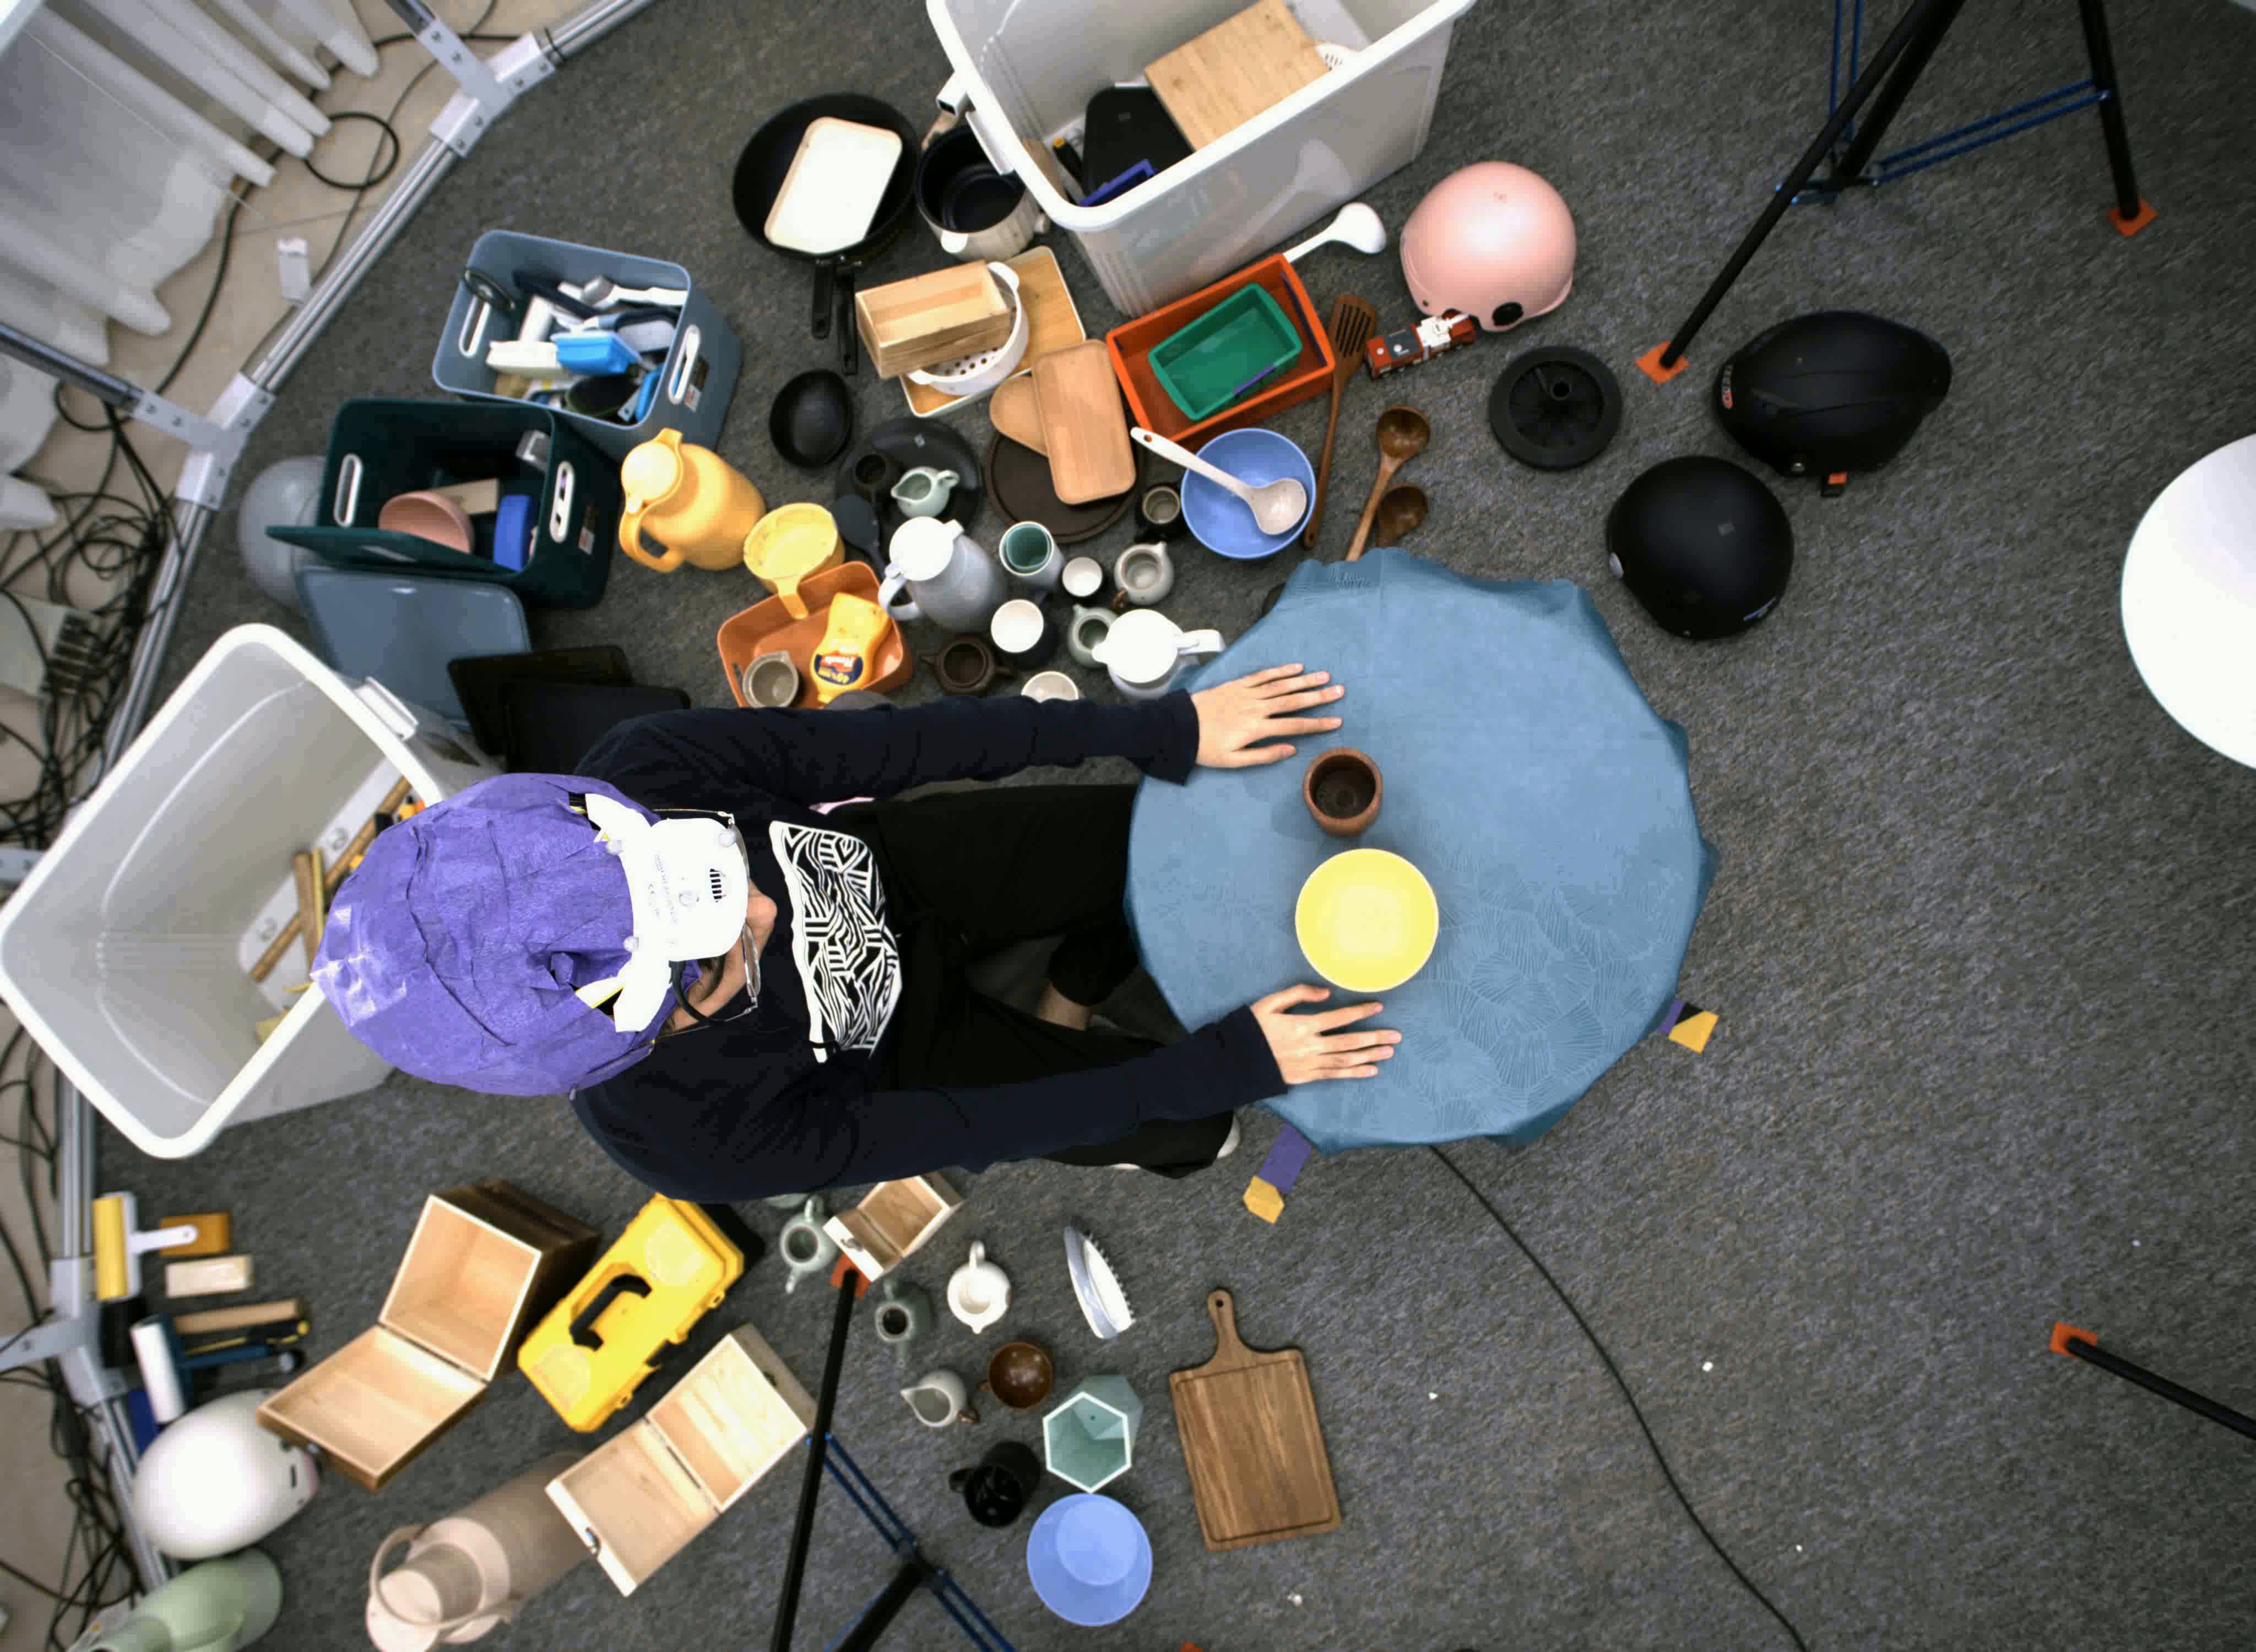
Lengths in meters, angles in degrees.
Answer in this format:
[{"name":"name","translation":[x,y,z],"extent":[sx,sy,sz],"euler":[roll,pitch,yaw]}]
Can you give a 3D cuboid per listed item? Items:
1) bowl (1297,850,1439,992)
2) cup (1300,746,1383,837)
[{"name":"bowl","translation":[0.248,0.098,1.431],"extent":[0.146,0.060,0.144],"euler":[-1,86,11]},{"name":"cup","translation":[0.221,-0.033,1.414],"extent":[0.088,0.118,0.087],"euler":[-1,84,11]}]
